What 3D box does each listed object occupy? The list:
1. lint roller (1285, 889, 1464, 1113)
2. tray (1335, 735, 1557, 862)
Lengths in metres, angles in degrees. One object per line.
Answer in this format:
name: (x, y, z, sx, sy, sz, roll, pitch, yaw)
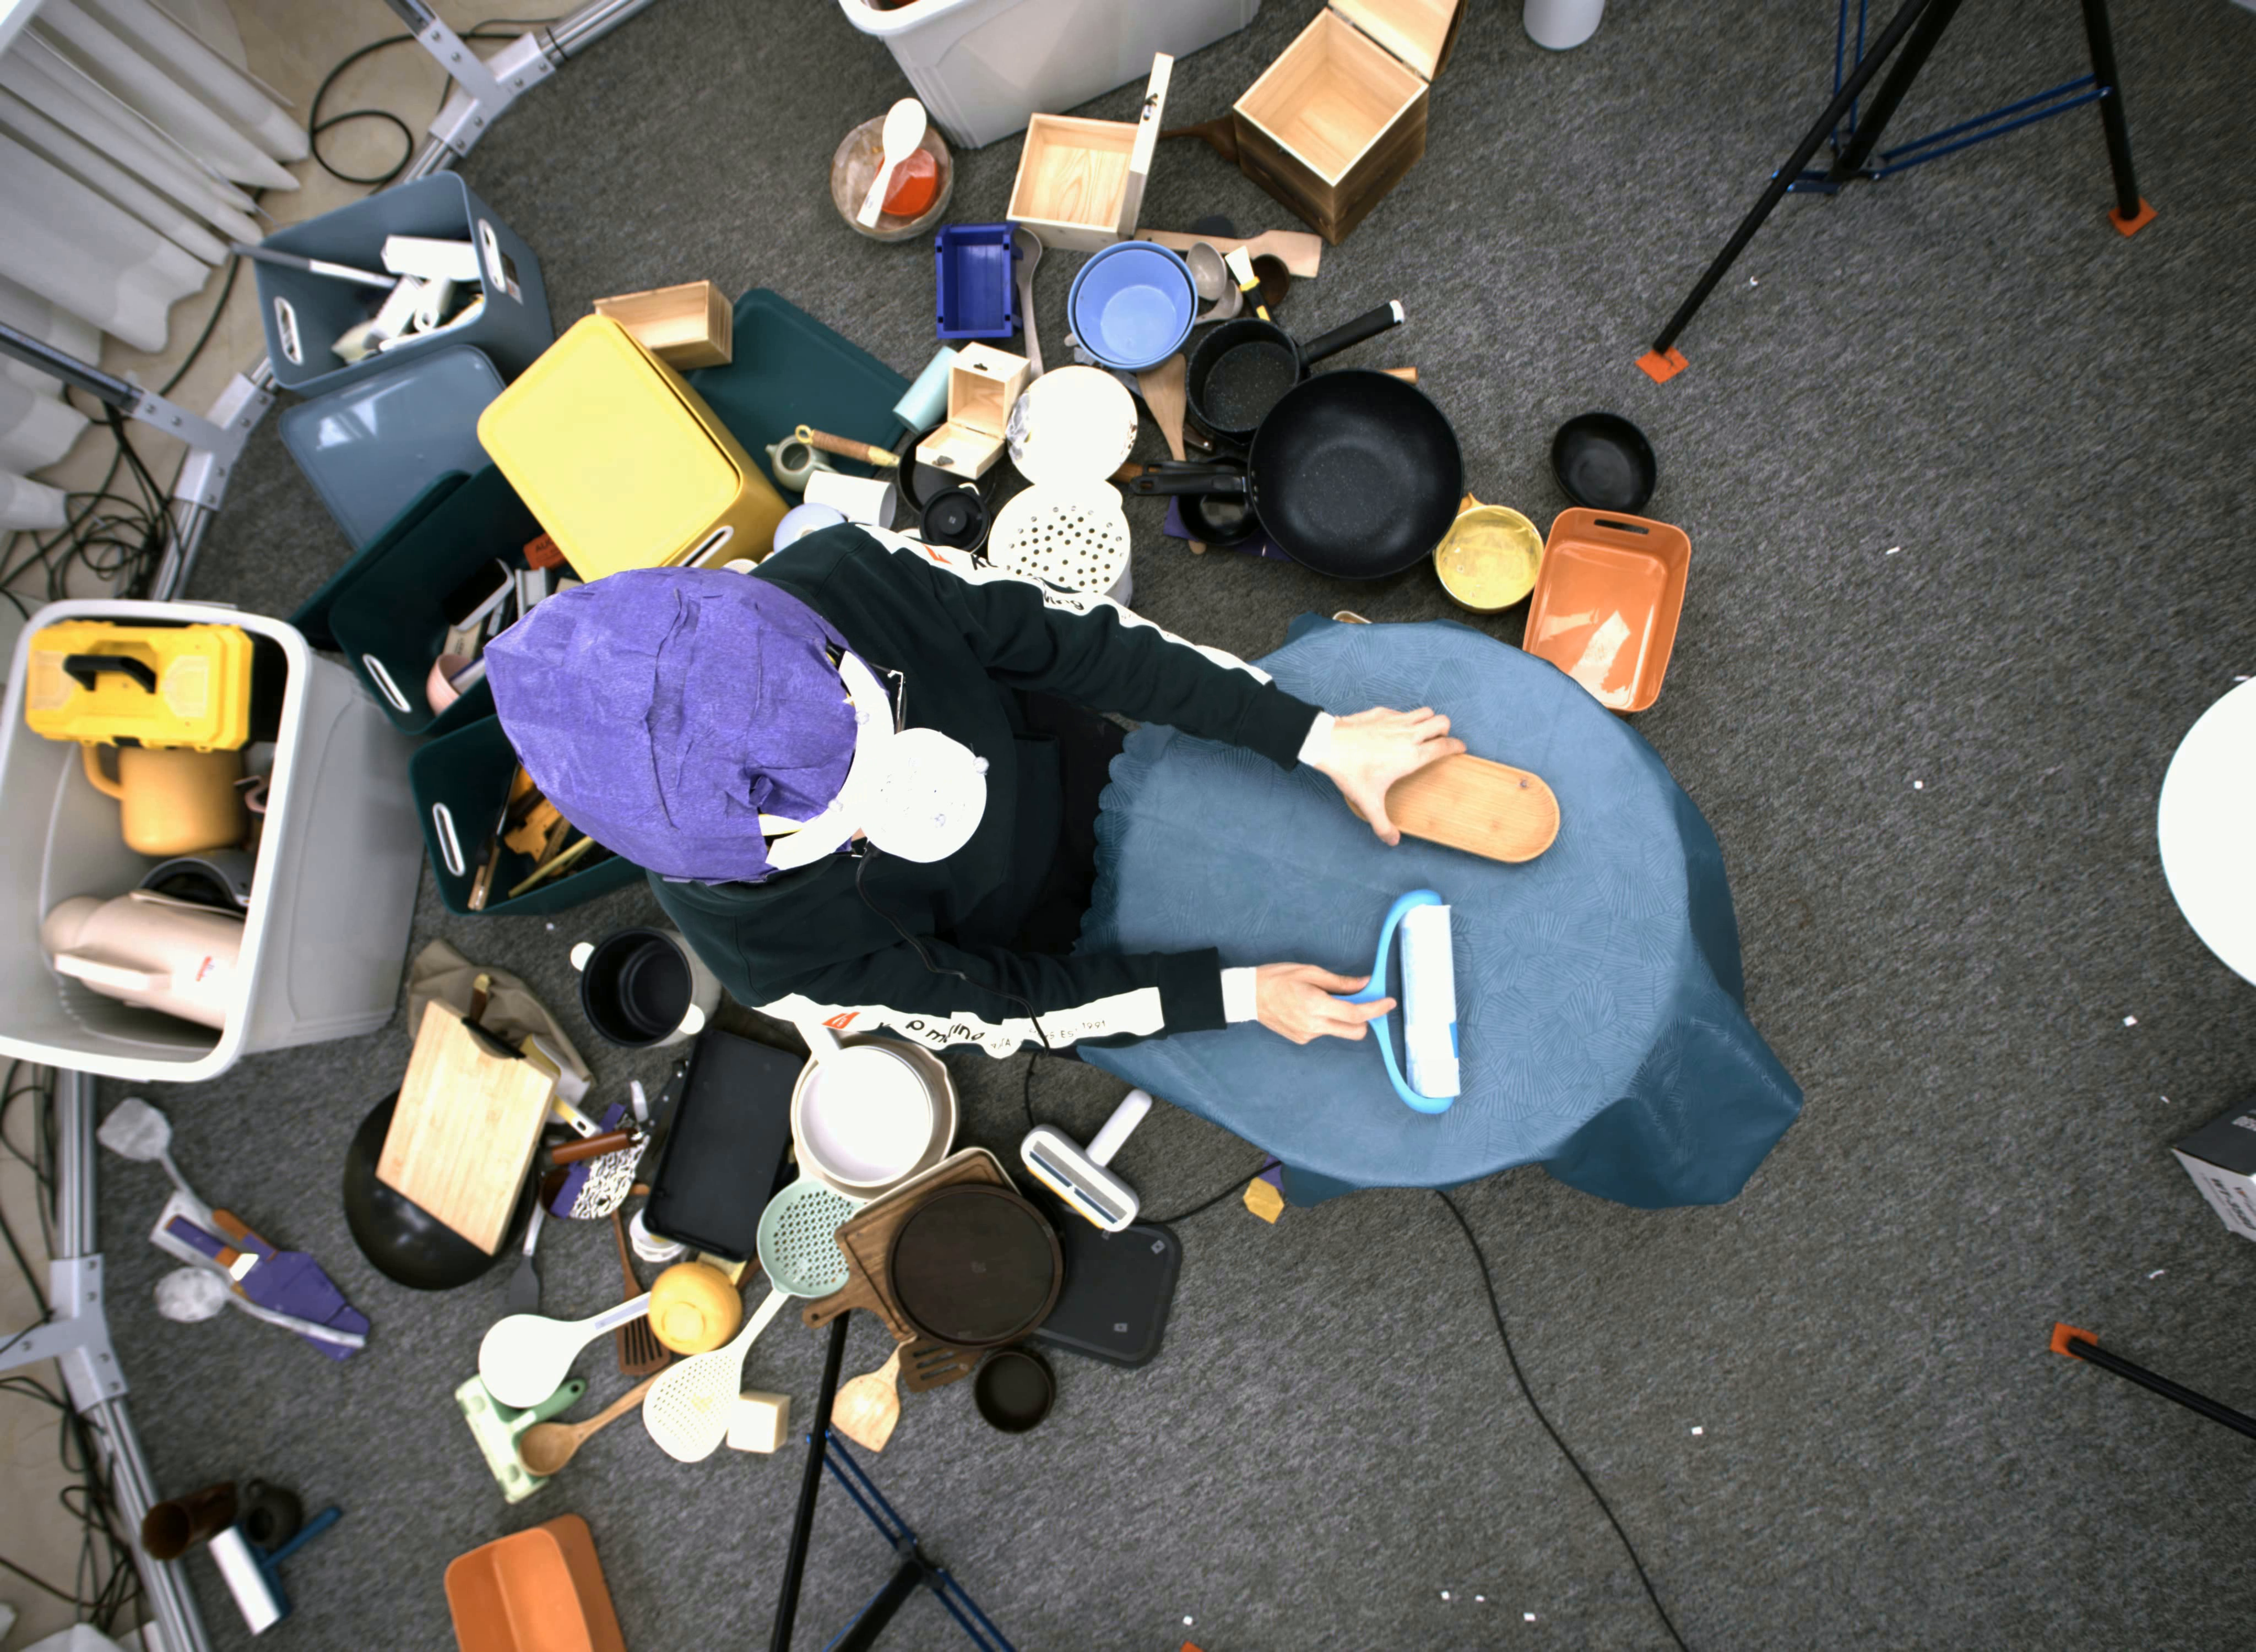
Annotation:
lint roller: (0.251, 0.183, 1.422, 0.181, 0.068, 0.228, -6, 88, 8)
tray: (0.330, -0.030, 1.432, 0.231, 0.020, 0.101, 14, 81, 9)
